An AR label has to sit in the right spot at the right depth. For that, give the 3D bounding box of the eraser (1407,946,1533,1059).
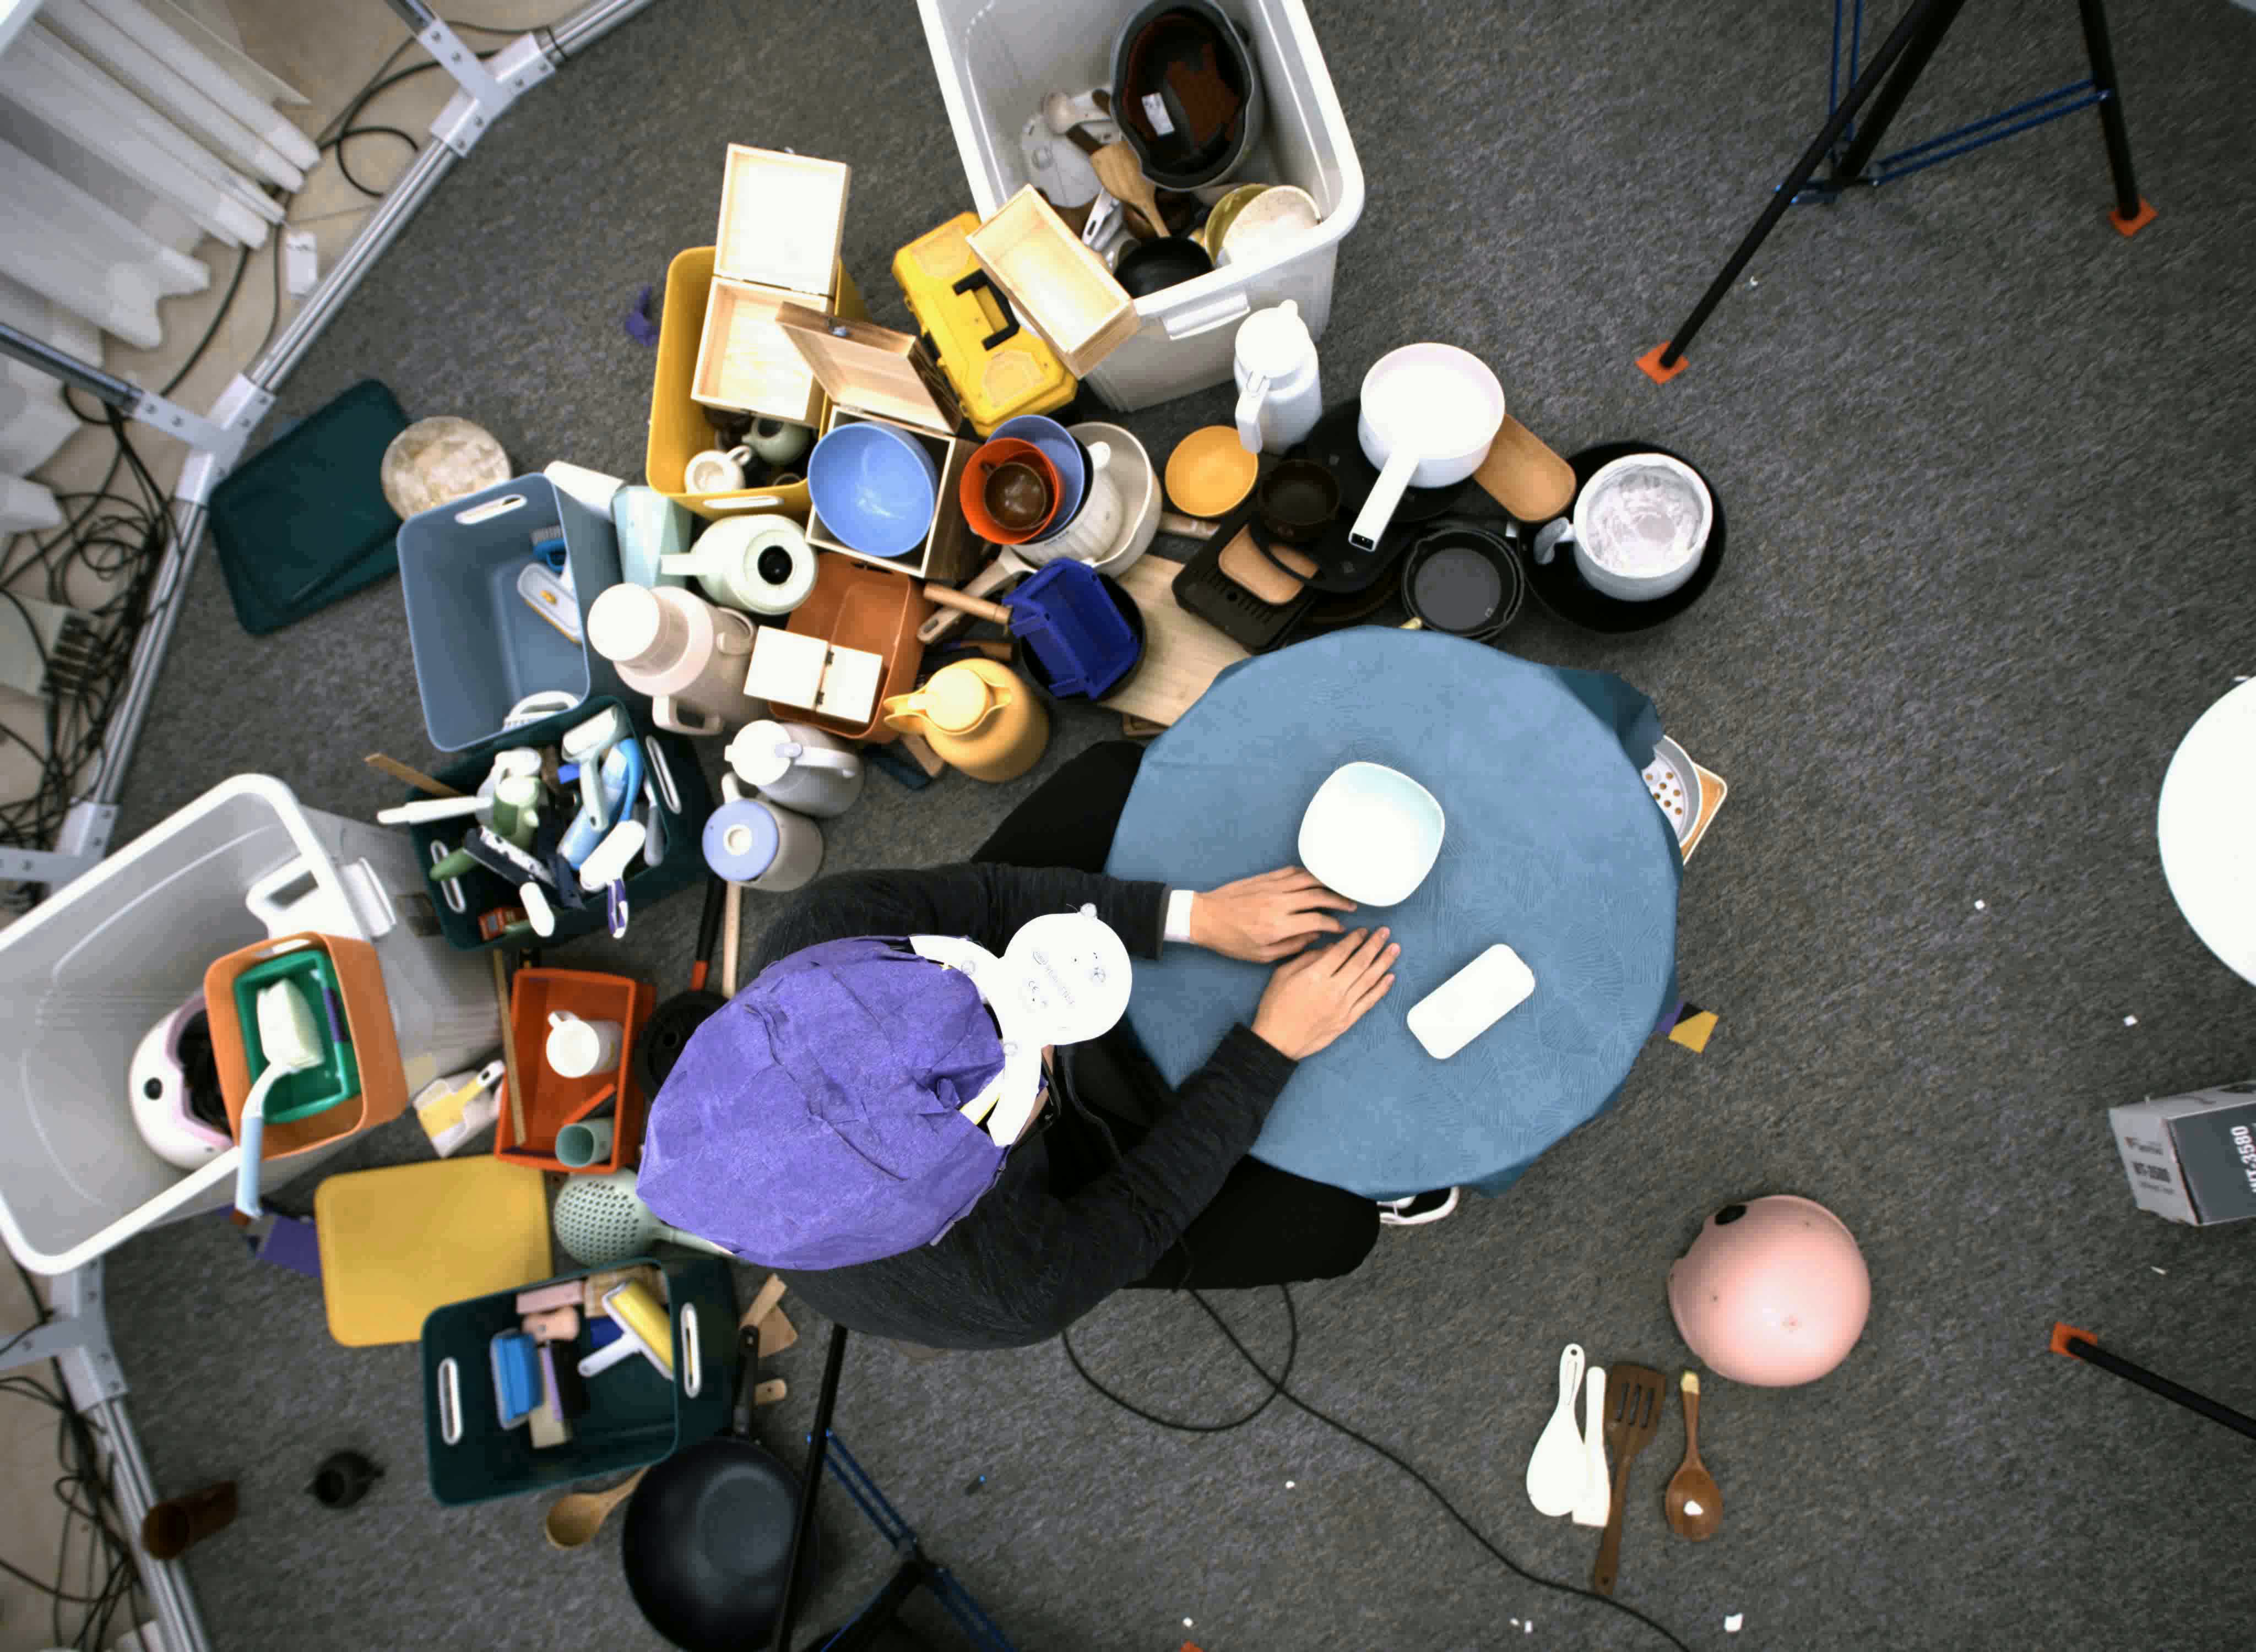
[{"bbox_3d":[0.351,0.179,1.423,0.132,0.034,0.063,-38,79,5],"label":"eraser"}]

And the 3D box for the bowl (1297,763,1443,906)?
[{"bbox_3d":[0.252,0.010,1.439,0.152,0.059,0.150,-1,85,9],"label":"bowl"}]
